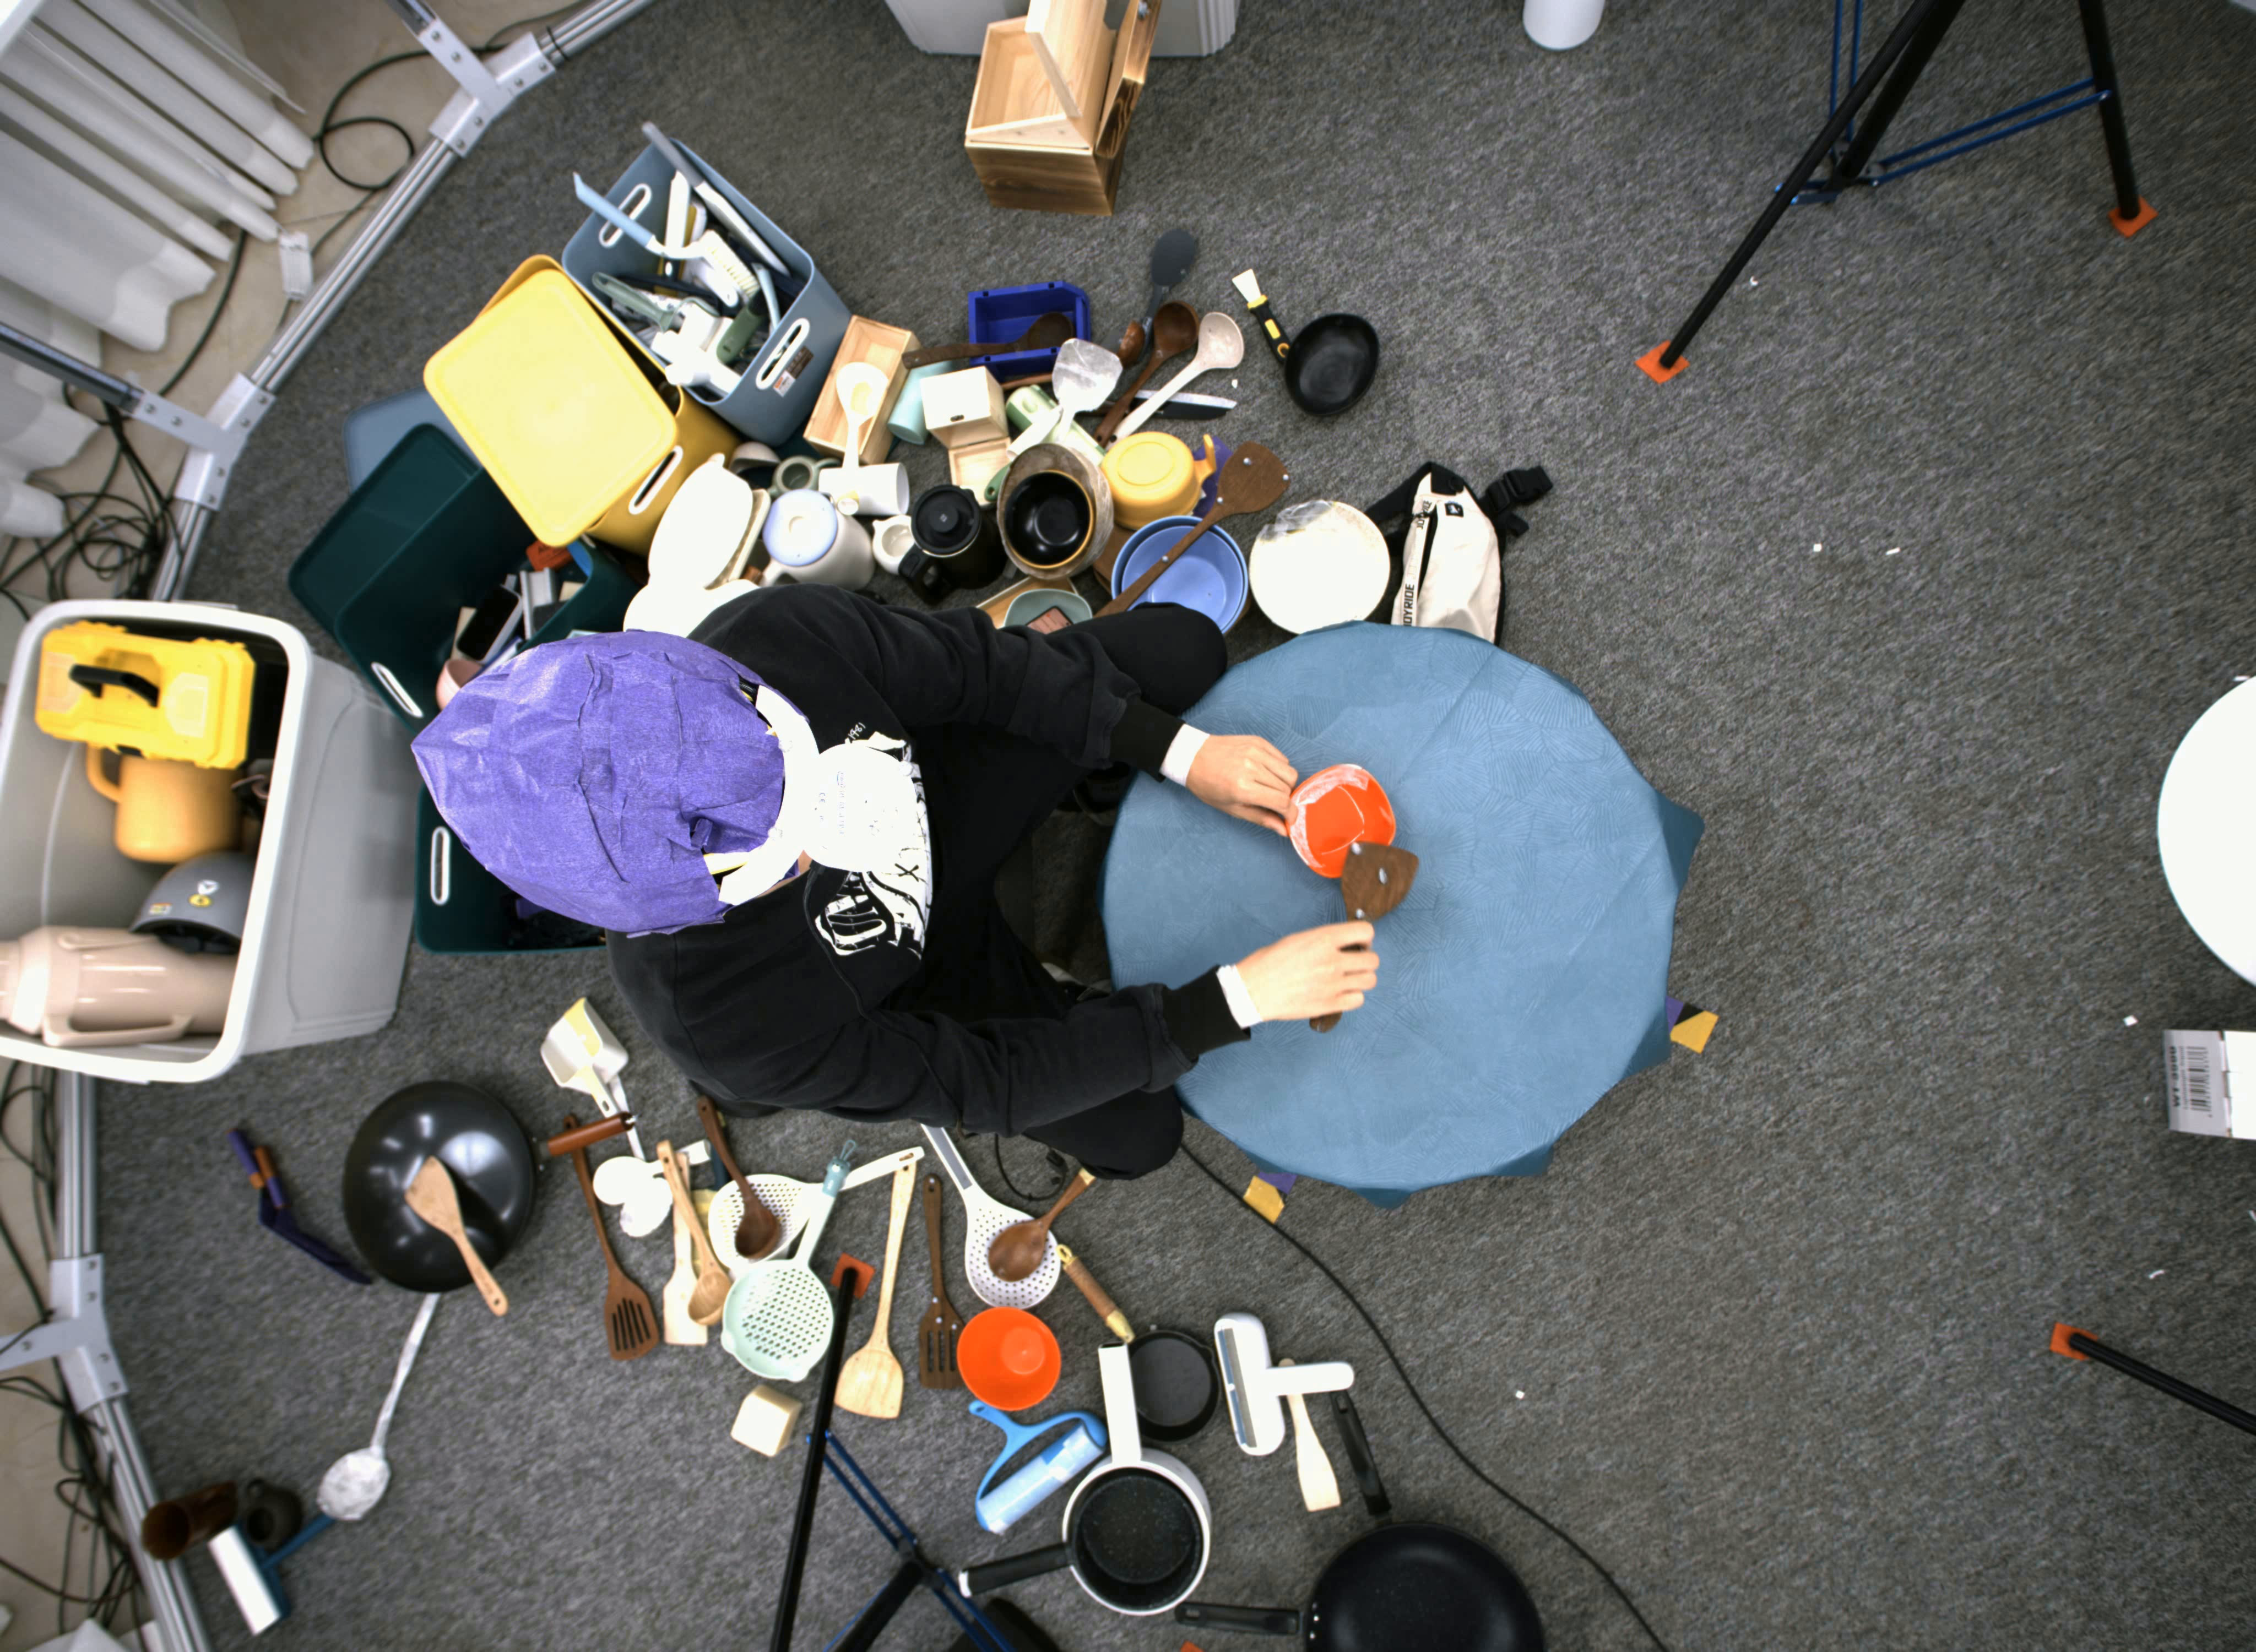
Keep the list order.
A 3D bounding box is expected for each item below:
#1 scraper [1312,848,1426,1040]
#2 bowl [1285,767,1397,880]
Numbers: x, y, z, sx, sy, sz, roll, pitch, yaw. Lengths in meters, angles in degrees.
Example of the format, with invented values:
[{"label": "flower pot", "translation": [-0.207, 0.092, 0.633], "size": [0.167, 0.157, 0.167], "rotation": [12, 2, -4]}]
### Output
[{"label": "scraper", "translation": [0.228, 0.114, 1.361], "size": [0.076, 0.011, 0.207], "rotation": [16, 67, 22]}, {"label": "bowl", "translation": [0.218, -0.004, 1.445], "size": [0.119, 0.051, 0.119], "rotation": [0, 94, -6]}]
